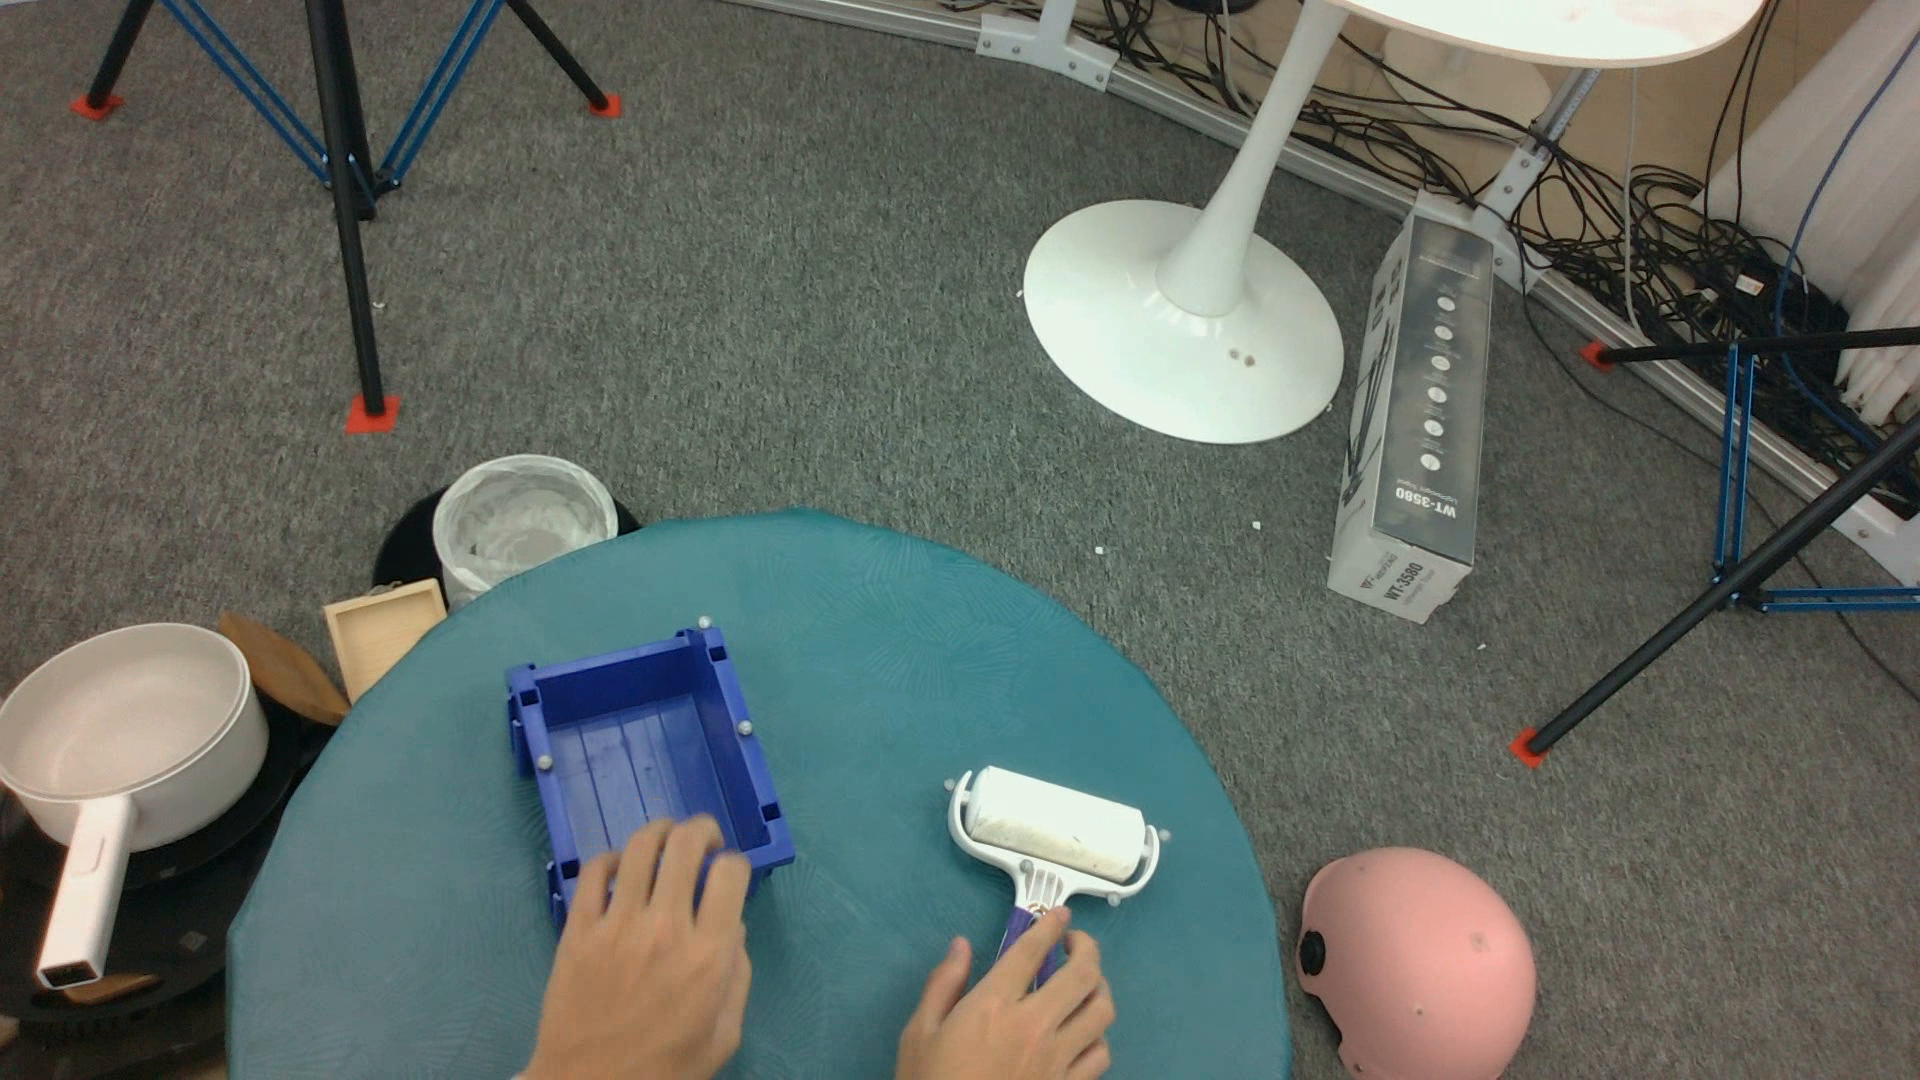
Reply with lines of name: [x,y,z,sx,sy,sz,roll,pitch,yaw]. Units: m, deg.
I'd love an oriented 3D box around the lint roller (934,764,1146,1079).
lint roller: [0.035,0.224,0.811,0.133,0.050,0.182,19,50,-3]

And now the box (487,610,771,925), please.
box: [-0.198,0.125,0.797,0.125,0.081,0.180,-11,61,-22]
